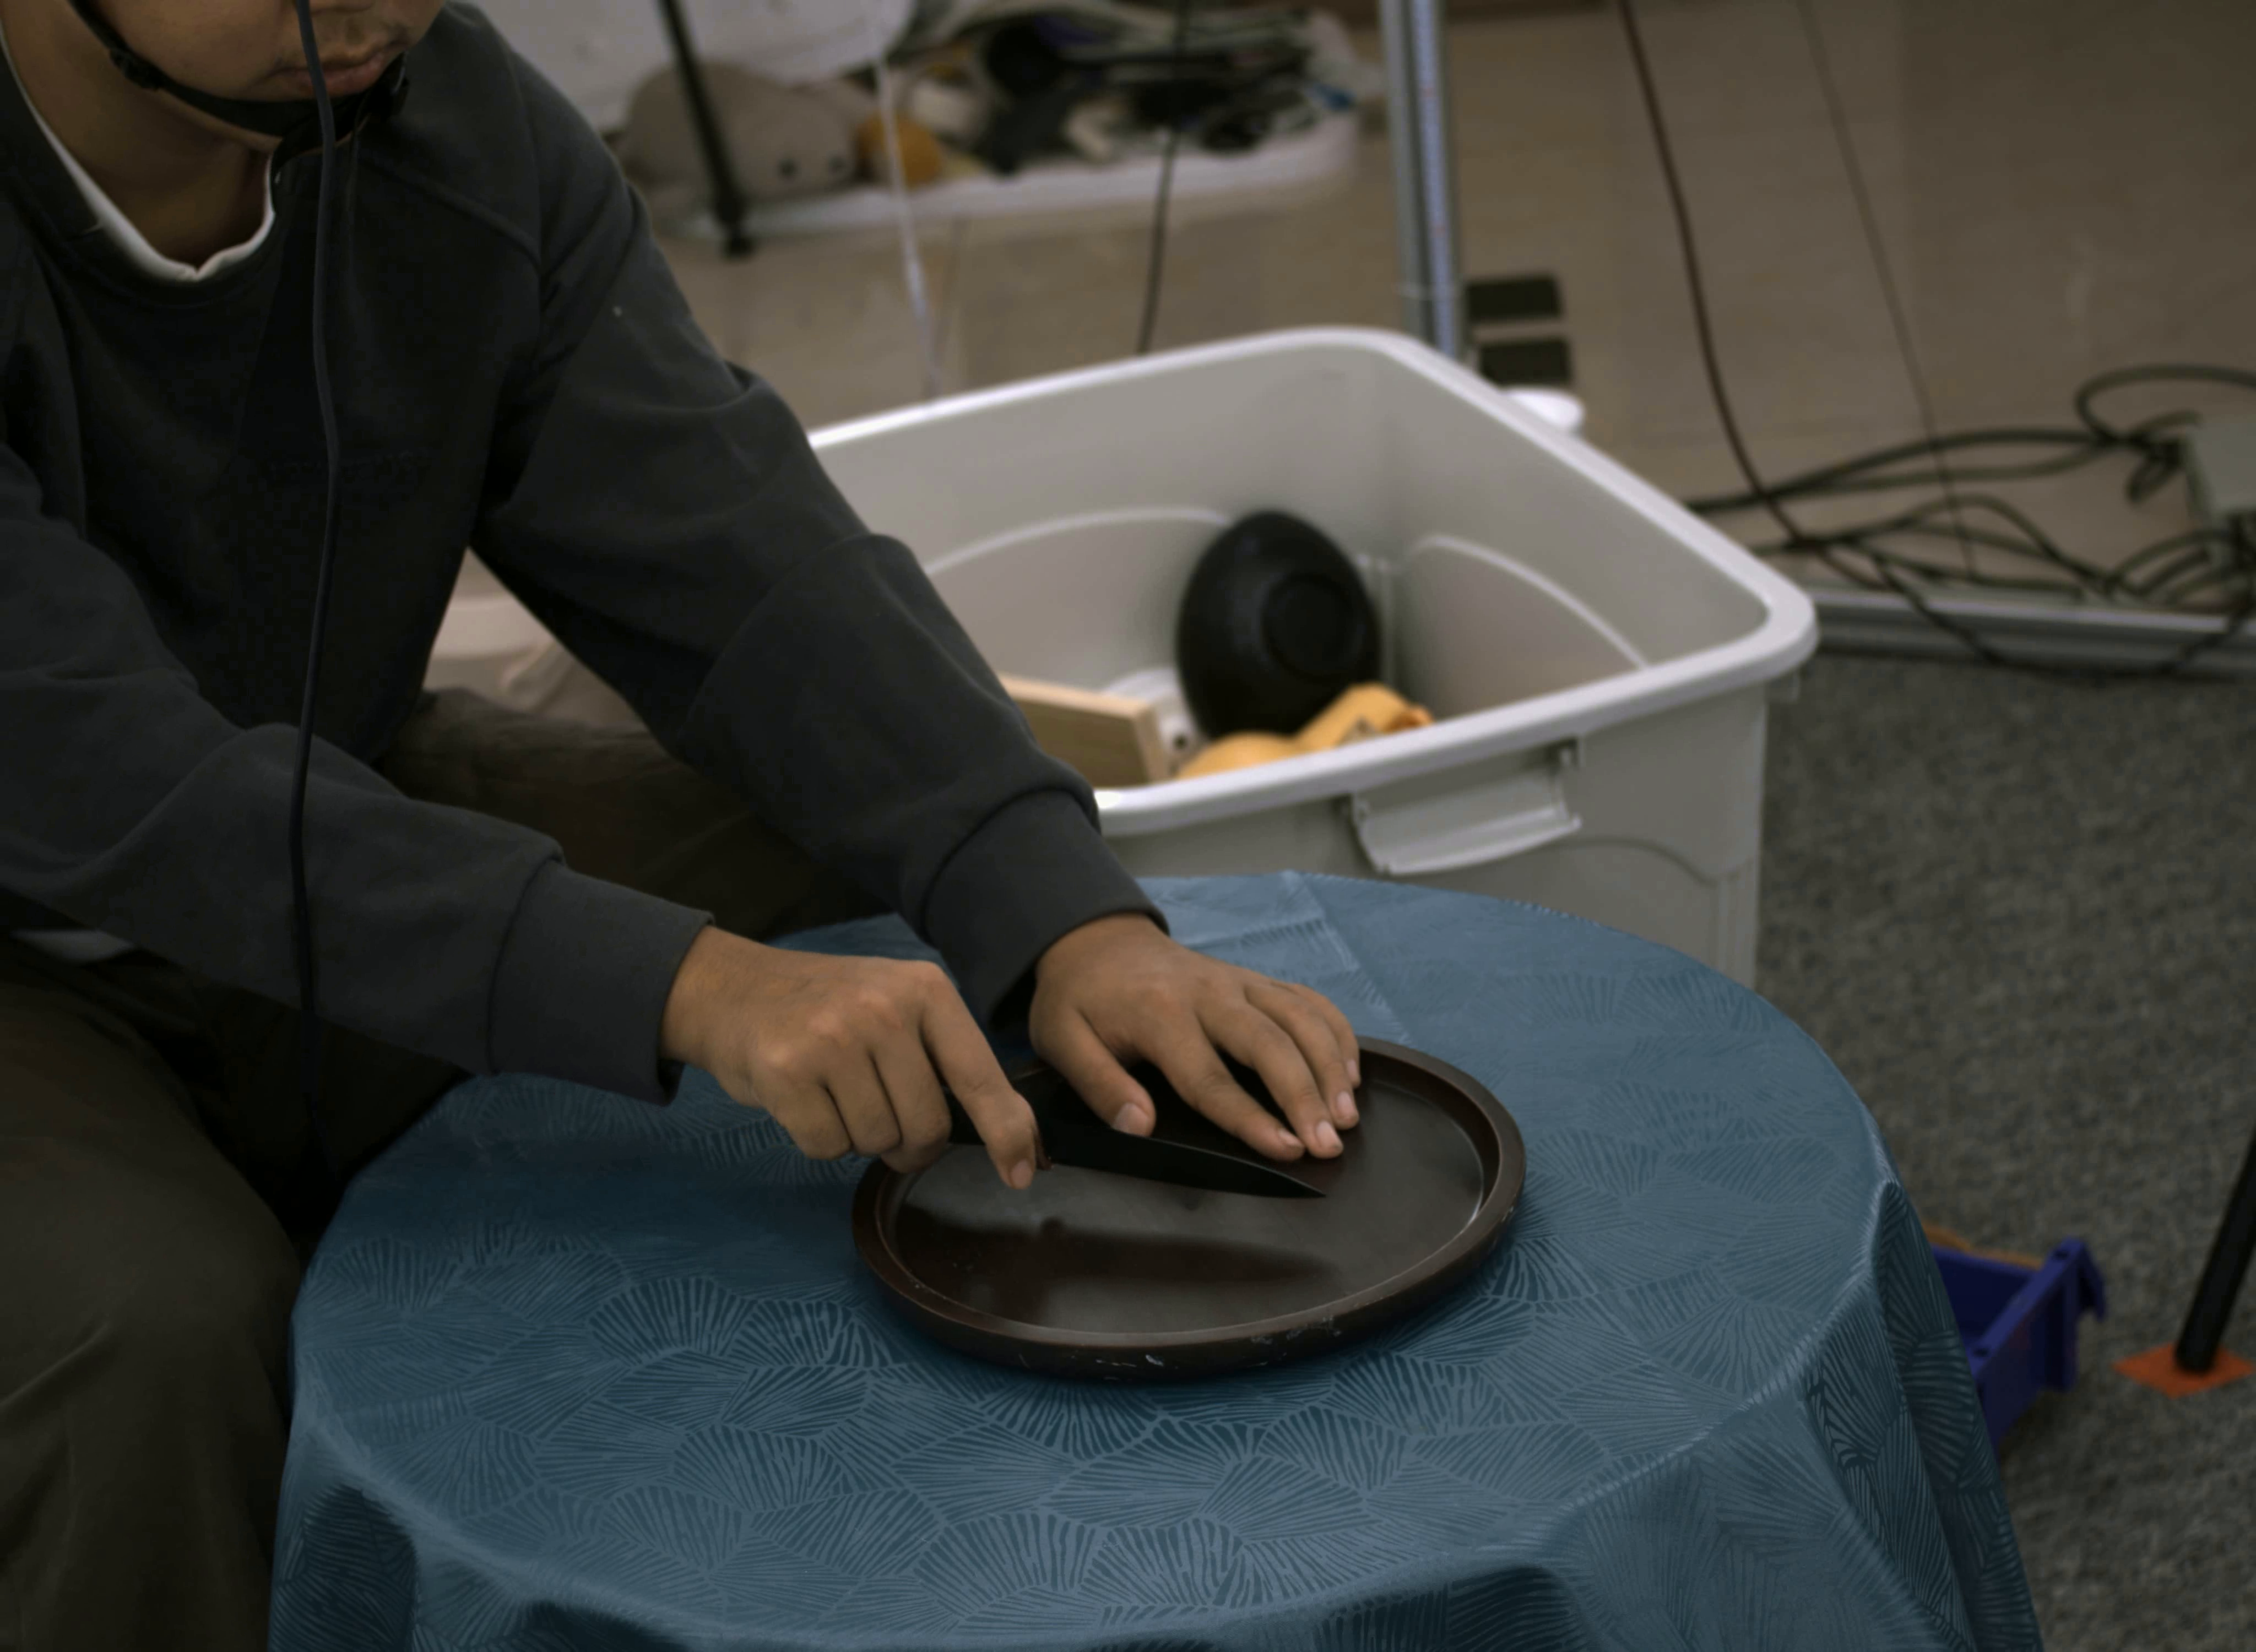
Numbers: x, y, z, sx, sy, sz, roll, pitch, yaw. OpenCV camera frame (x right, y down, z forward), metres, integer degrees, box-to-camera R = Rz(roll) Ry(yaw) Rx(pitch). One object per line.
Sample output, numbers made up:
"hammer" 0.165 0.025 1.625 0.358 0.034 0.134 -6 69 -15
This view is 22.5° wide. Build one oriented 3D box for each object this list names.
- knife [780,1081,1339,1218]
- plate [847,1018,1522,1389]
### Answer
"knife" -0.027 0.120 2.115 0.224 0.027 0.017 9 38 20
"plate" 0.022 0.139 2.115 0.254 0.029 0.251 -7 25 3
